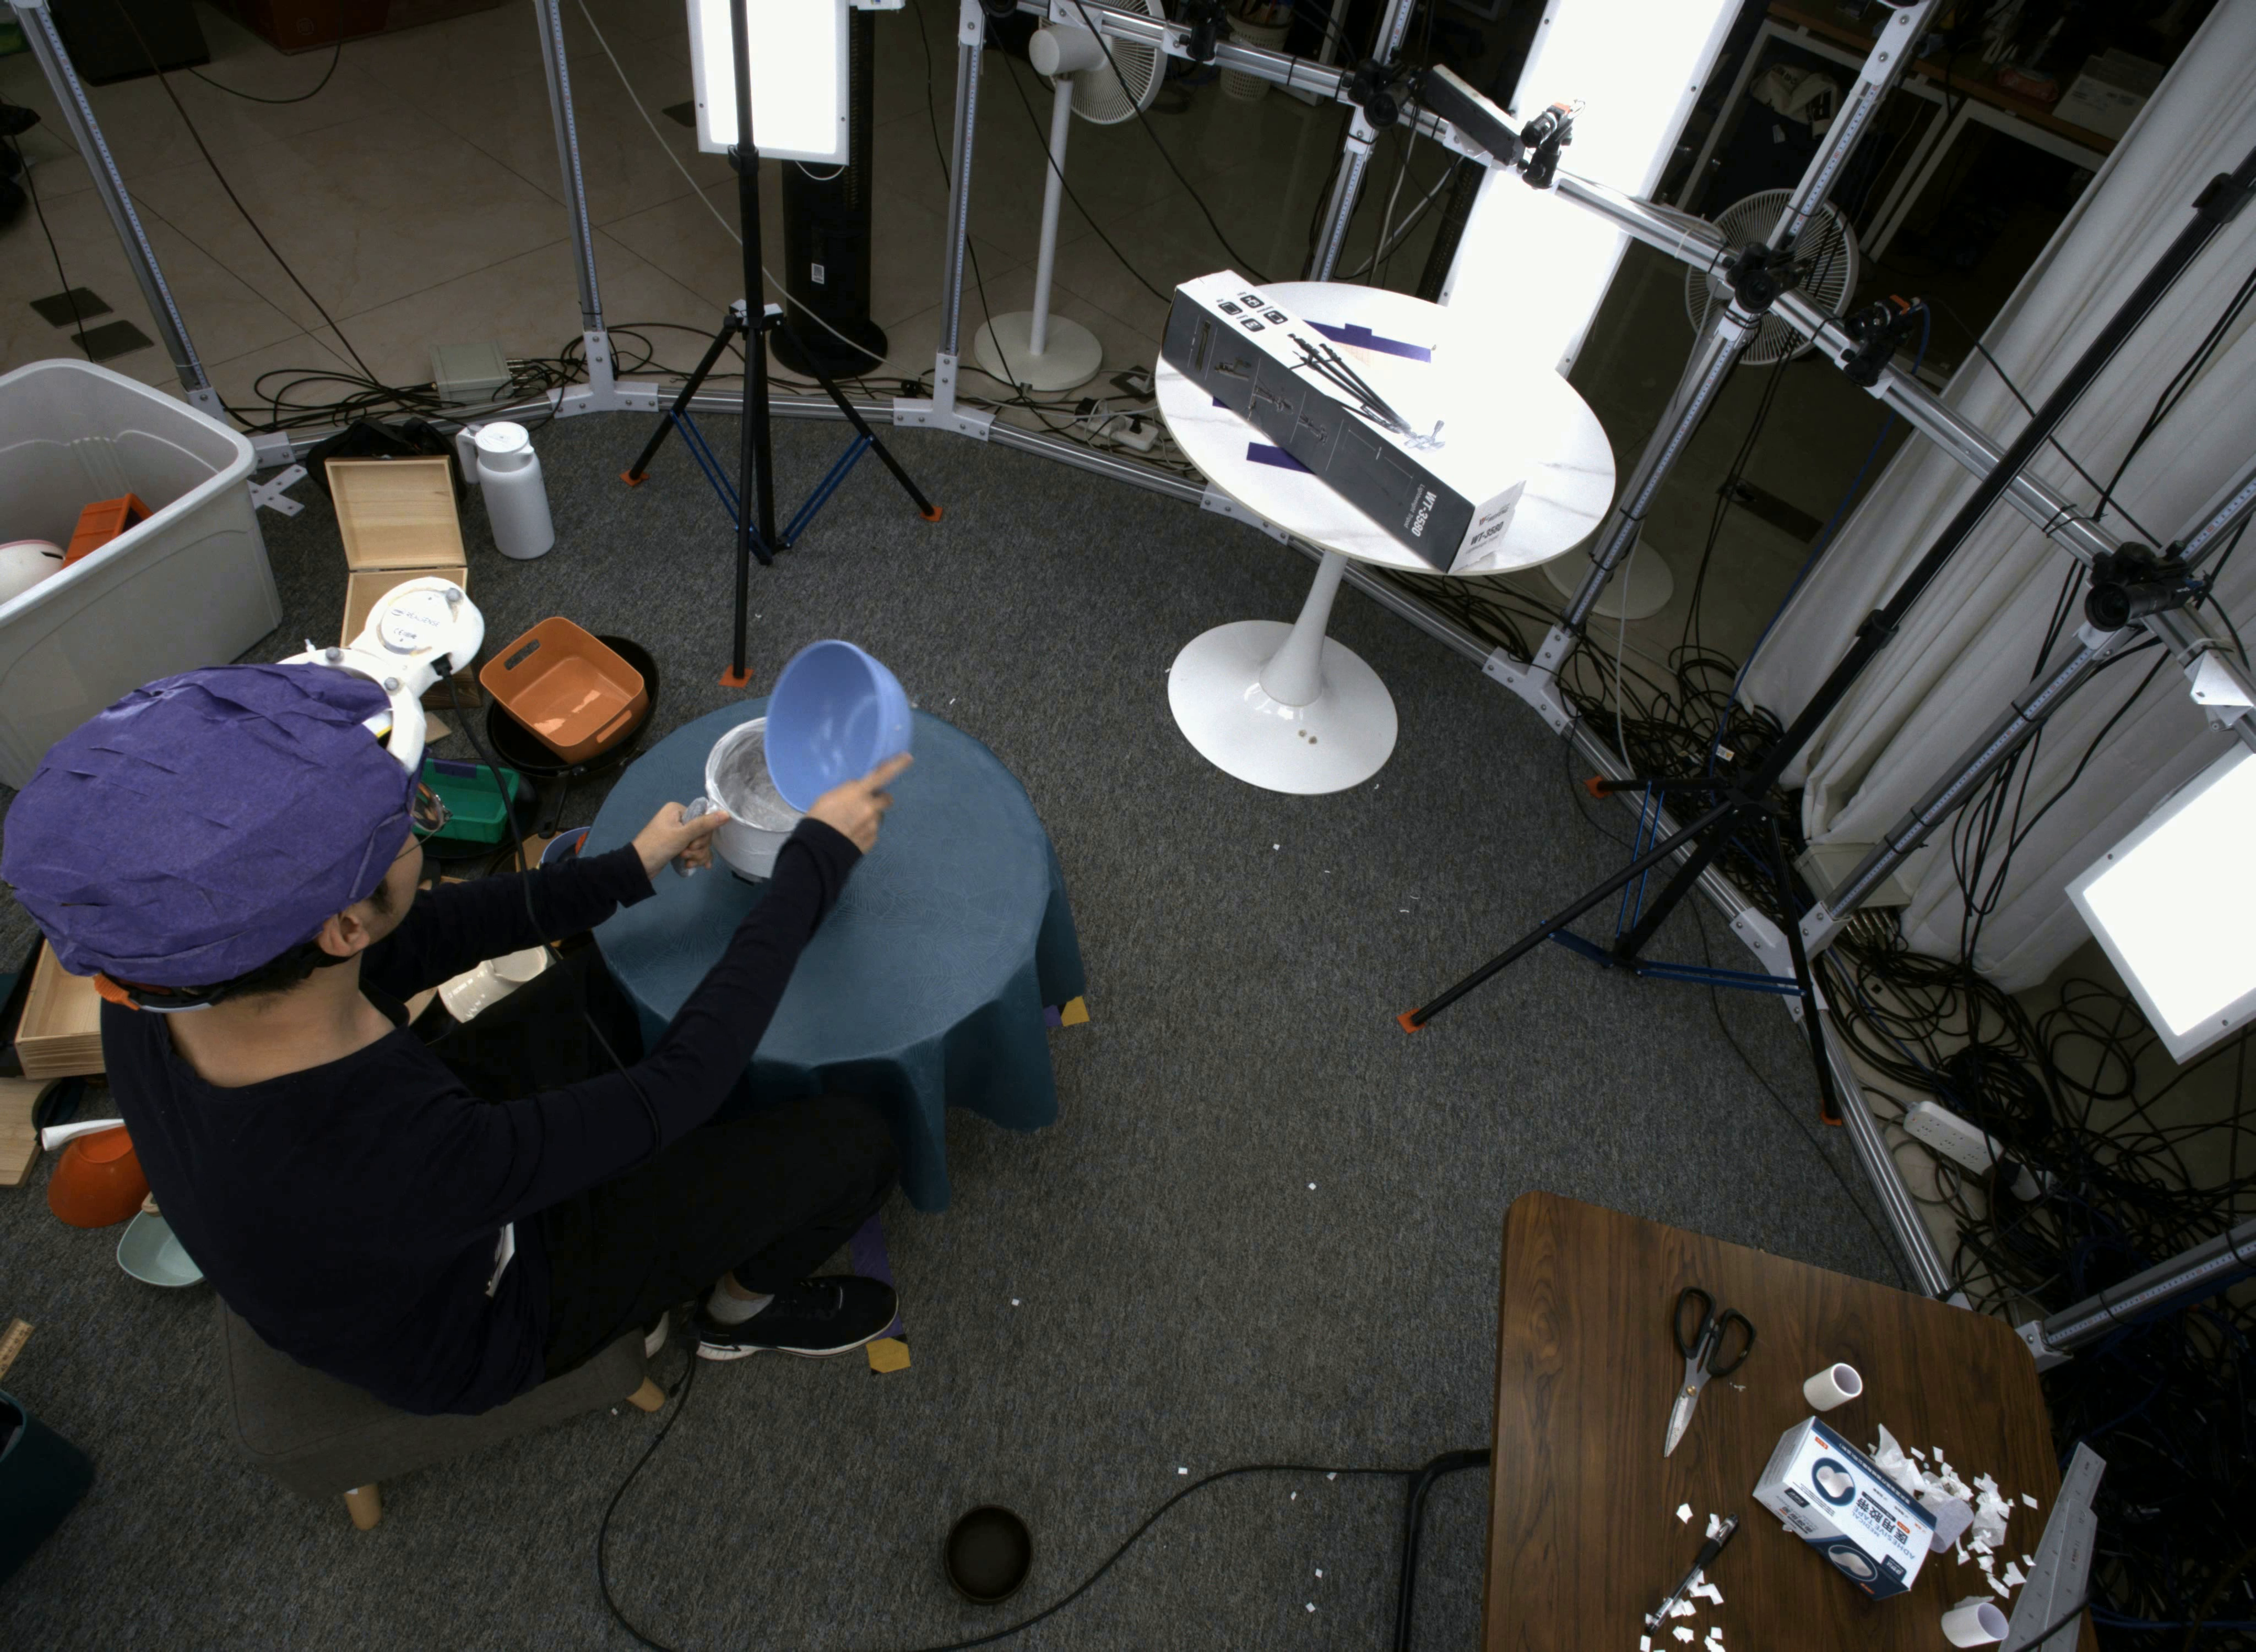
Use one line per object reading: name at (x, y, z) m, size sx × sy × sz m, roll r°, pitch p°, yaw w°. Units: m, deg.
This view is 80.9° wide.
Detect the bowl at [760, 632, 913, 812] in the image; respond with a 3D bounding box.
bowl at (-0.313, -0.108, 1.464) m, size 0.191 × 0.196 × 0.098 m, roll 52°, pitch 20°, yaw 25°

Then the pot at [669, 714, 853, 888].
pot at (-0.448, -0.019, 1.575) m, size 0.235 × 0.139 × 0.174 m, roll -27°, pitch 62°, yaw -31°
